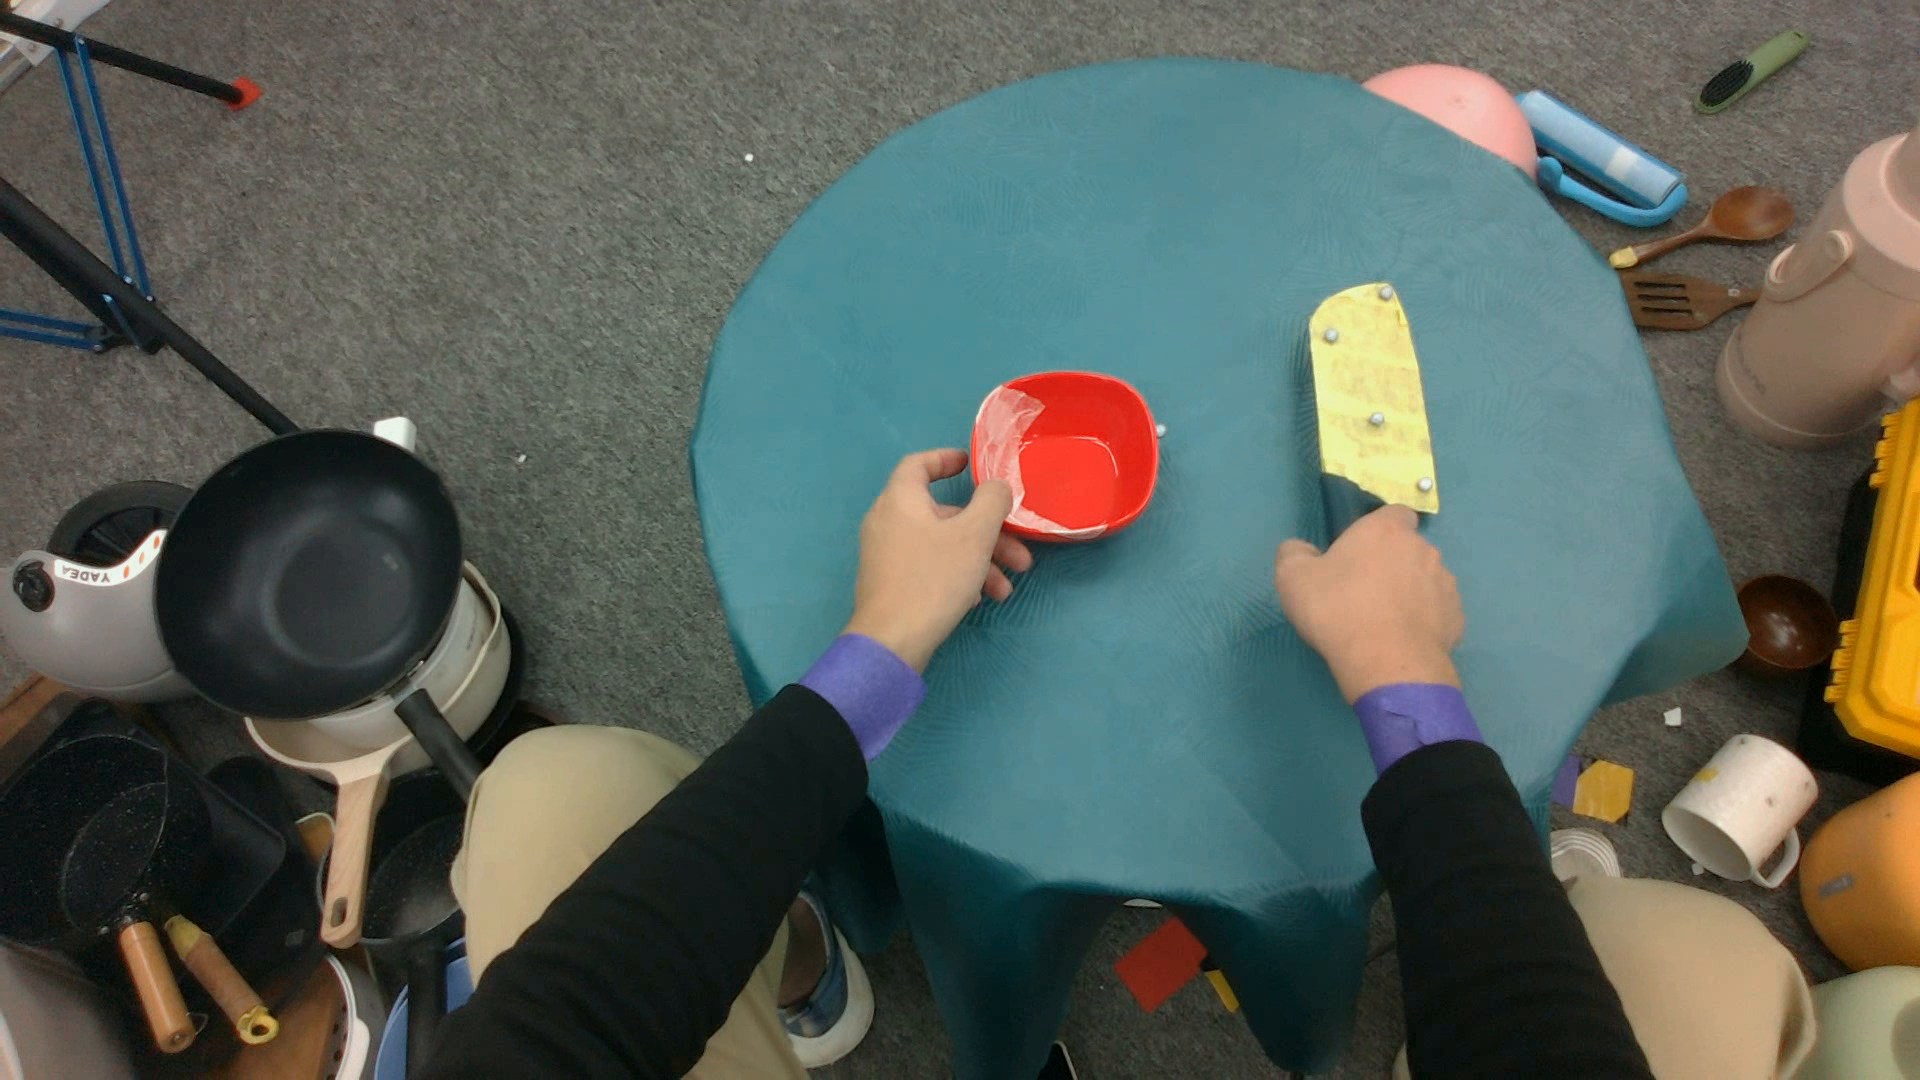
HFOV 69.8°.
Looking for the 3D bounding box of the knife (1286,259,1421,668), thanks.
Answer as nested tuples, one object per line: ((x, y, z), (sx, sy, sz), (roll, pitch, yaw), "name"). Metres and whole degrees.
((0.234, -0.056, 0.814), (0.081, 0.027, 0.291), (10, 60, -8), "knife")

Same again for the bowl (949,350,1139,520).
((0.050, -0.055, 0.822), (0.119, 0.051, 0.119), (-1, 63, 2), "bowl")
